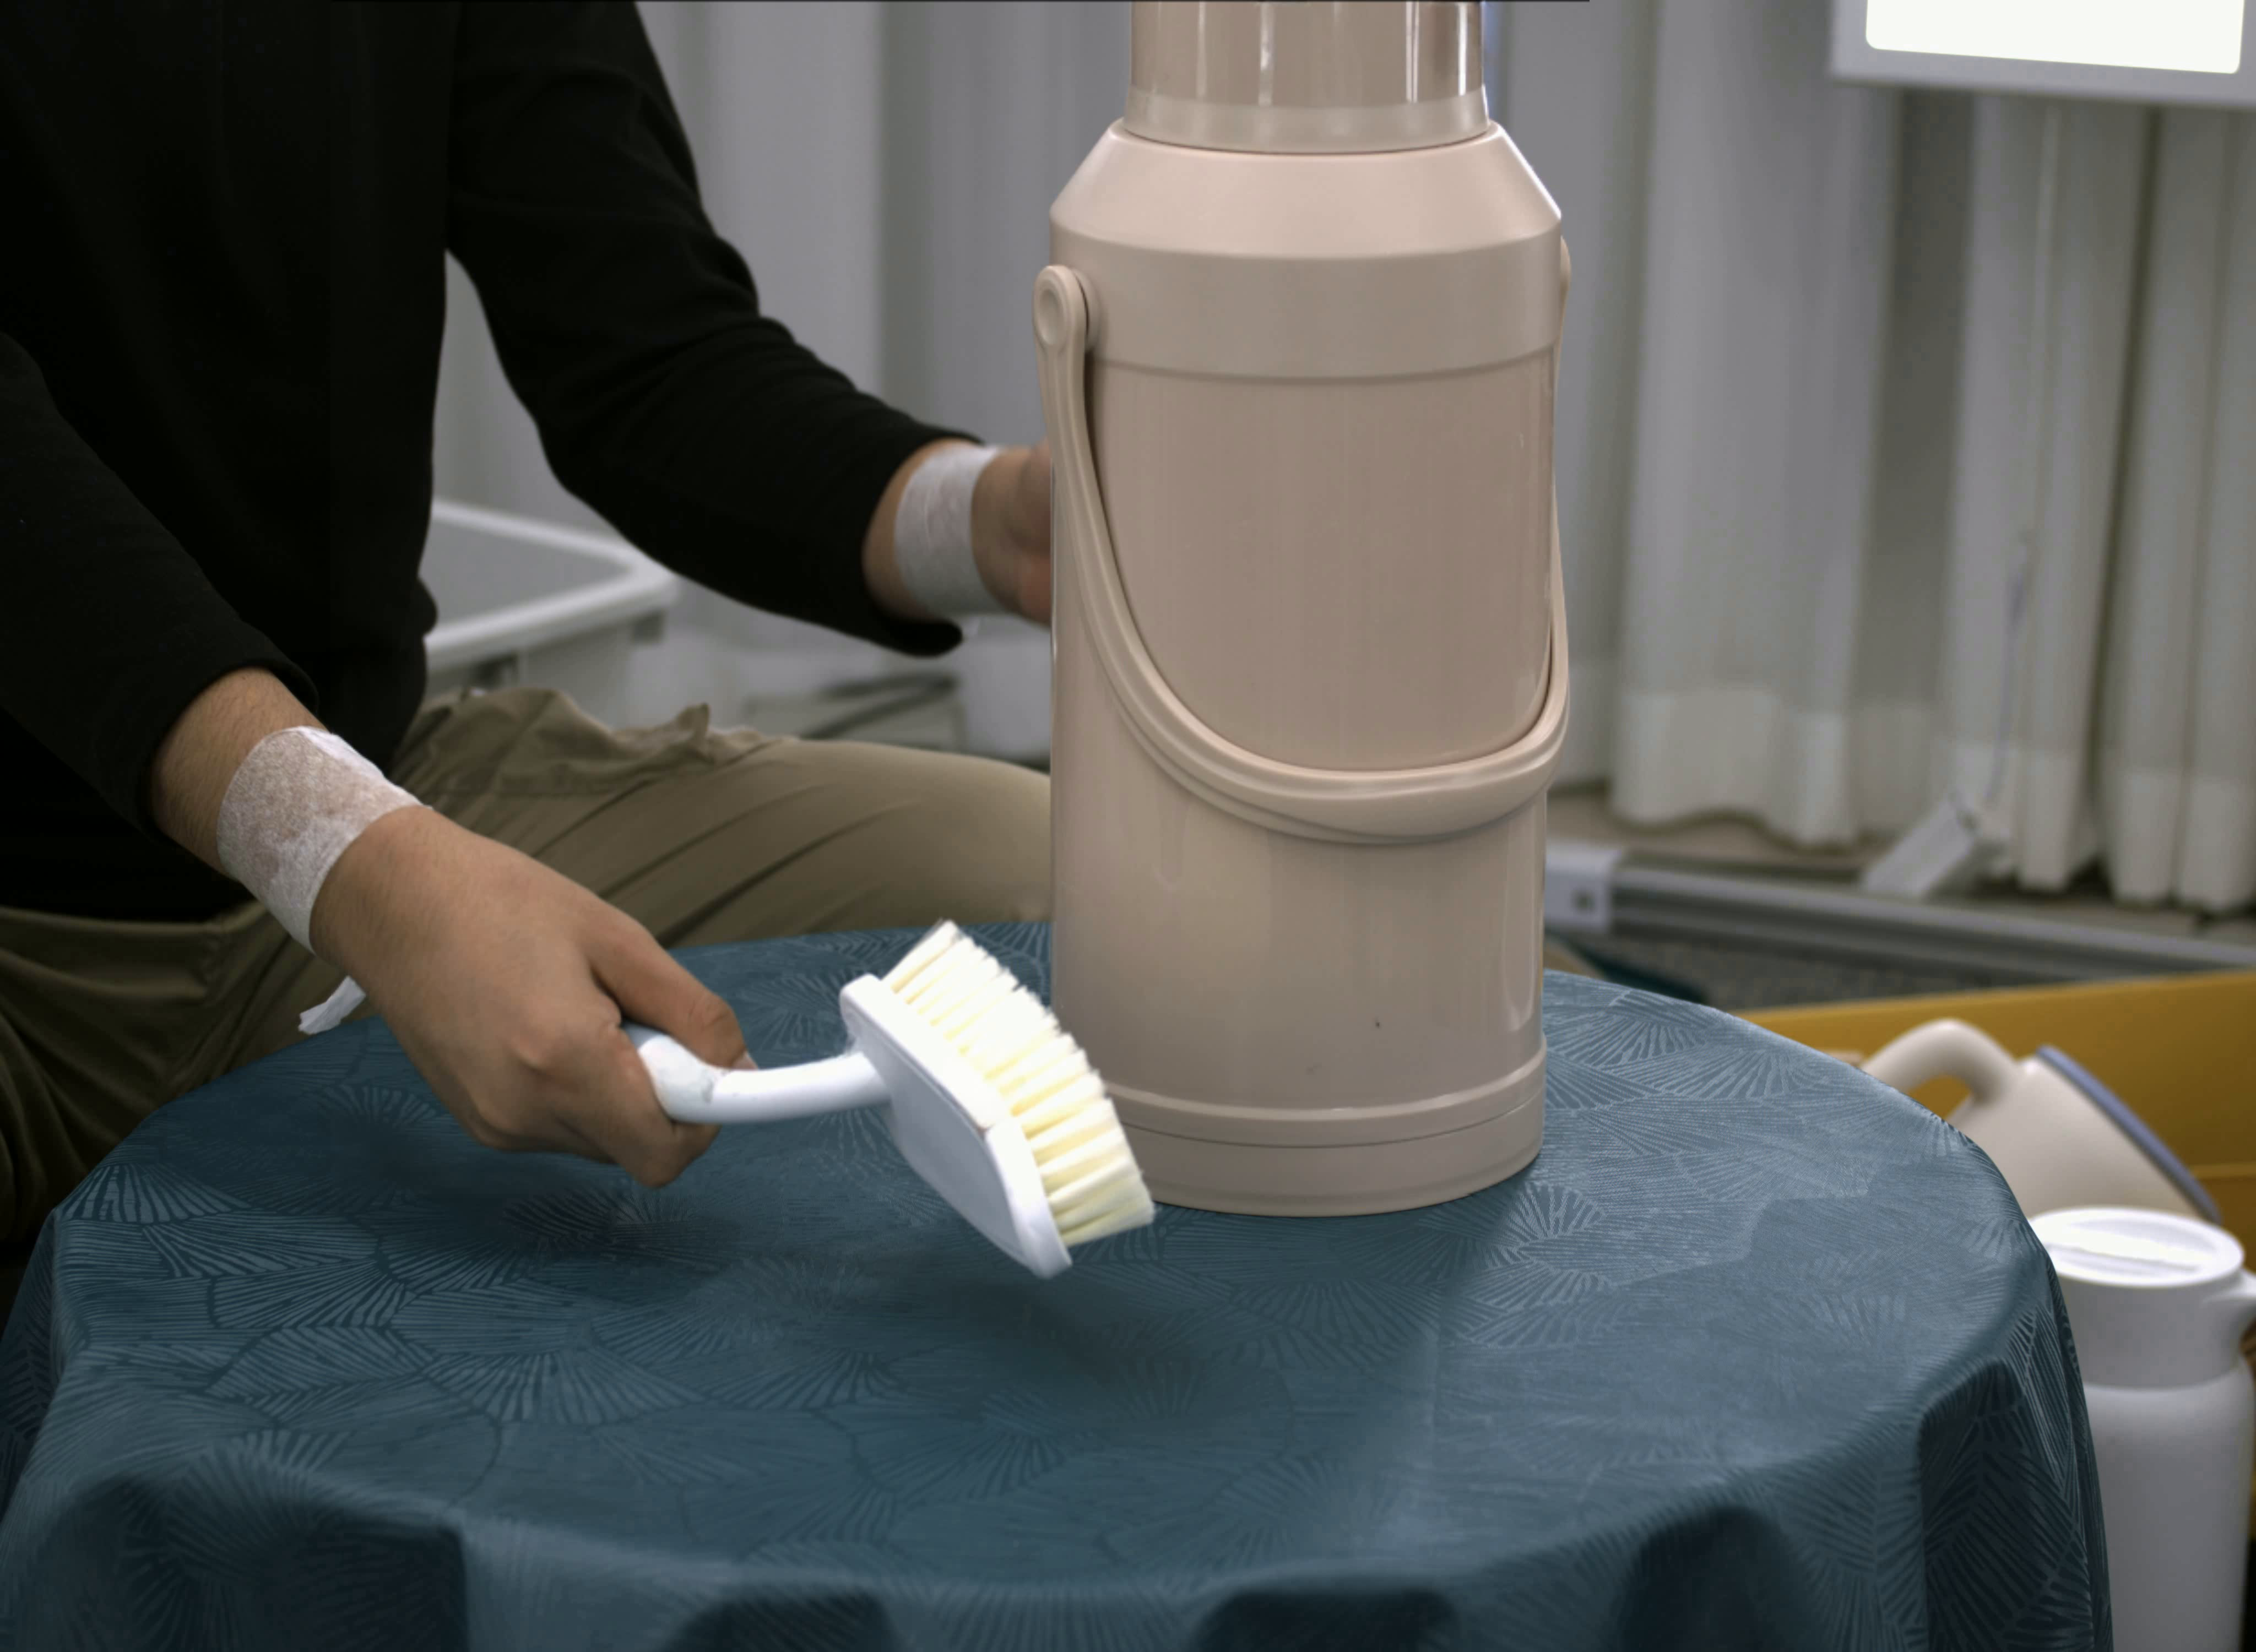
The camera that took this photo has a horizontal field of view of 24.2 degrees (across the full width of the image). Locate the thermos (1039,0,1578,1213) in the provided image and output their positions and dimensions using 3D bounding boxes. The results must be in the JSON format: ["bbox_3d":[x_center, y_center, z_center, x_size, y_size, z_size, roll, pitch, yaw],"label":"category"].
[{"bbox_3d":[0.050,-0.097,1.632,0.176,0.410,0.204,-10,19,-27],"label":"thermos"}]

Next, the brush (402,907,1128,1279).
[{"bbox_3d":[-0.101,0.054,1.557,0.085,0.083,0.321,6,11,-41],"label":"brush"}]
